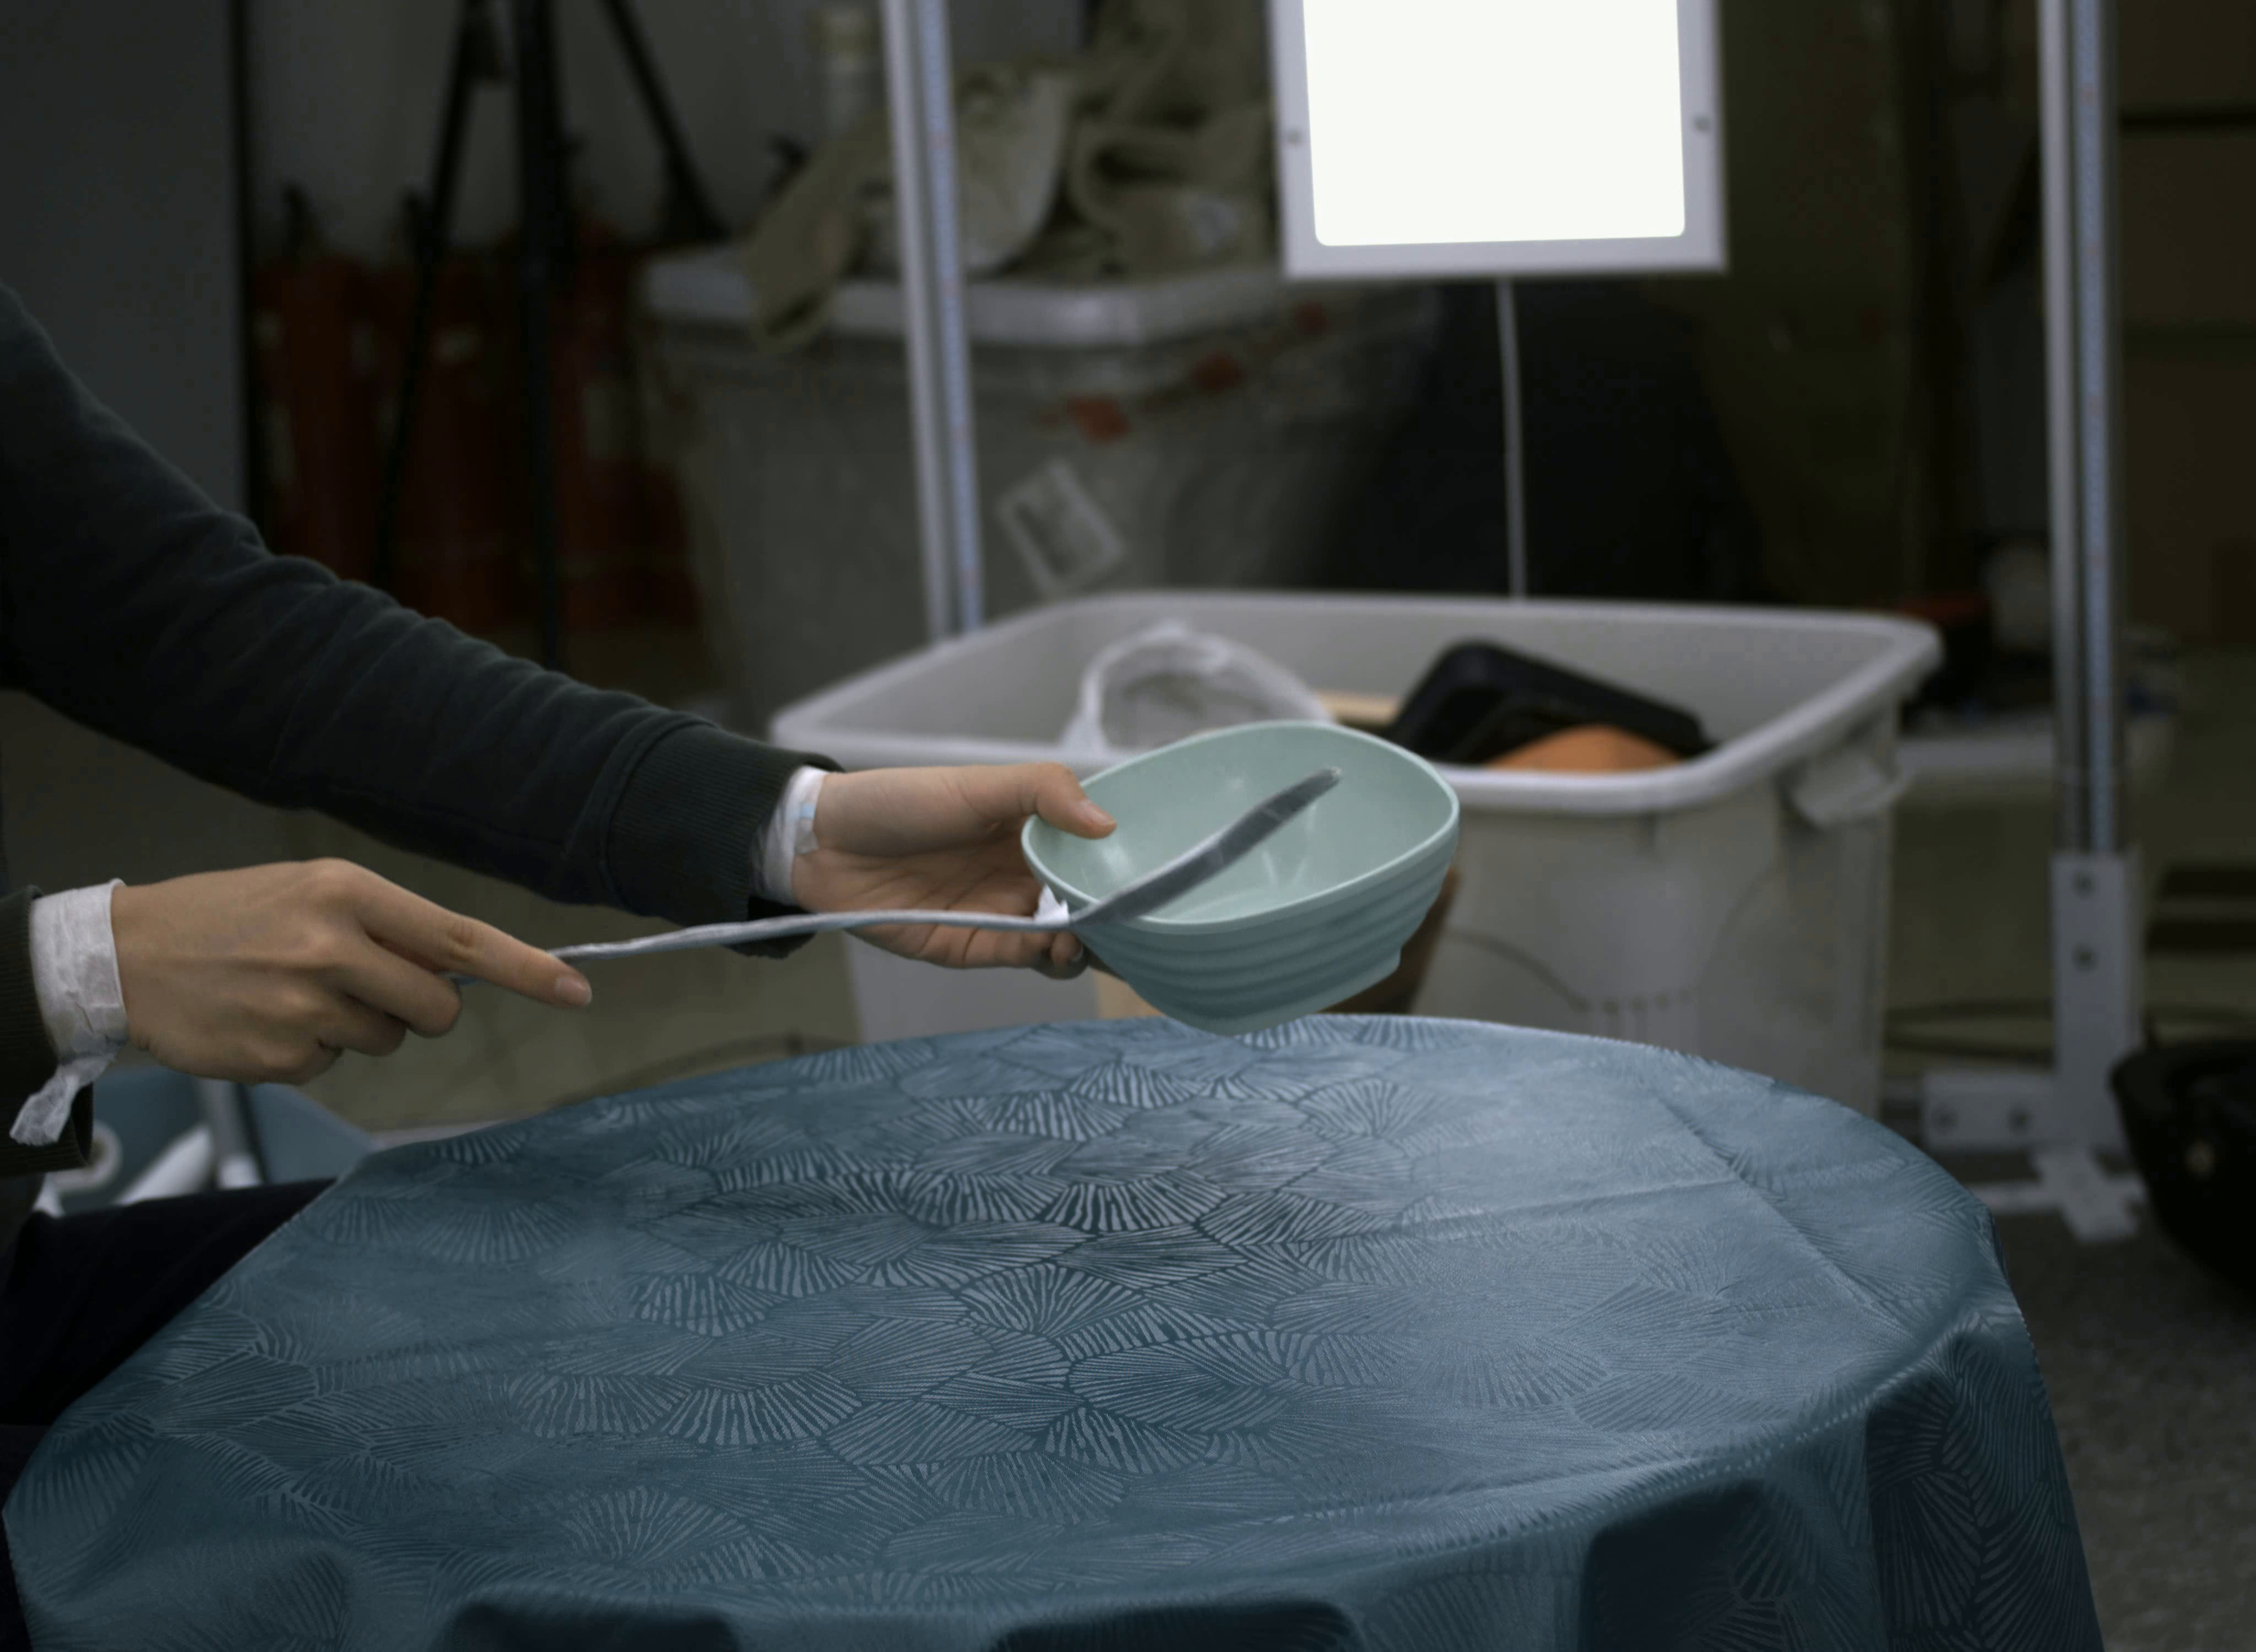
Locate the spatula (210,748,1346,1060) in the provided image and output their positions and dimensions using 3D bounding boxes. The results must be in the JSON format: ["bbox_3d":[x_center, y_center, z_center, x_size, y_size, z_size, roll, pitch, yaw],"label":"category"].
[{"bbox_3d":[-0.109,0.024,1.705,0.364,0.045,0.098,-8,0,2],"label":"spatula"}]

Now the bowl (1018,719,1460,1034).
[{"bbox_3d":[0.040,0.022,1.861,0.151,0.059,0.151,-7,26,2],"label":"bowl"}]
